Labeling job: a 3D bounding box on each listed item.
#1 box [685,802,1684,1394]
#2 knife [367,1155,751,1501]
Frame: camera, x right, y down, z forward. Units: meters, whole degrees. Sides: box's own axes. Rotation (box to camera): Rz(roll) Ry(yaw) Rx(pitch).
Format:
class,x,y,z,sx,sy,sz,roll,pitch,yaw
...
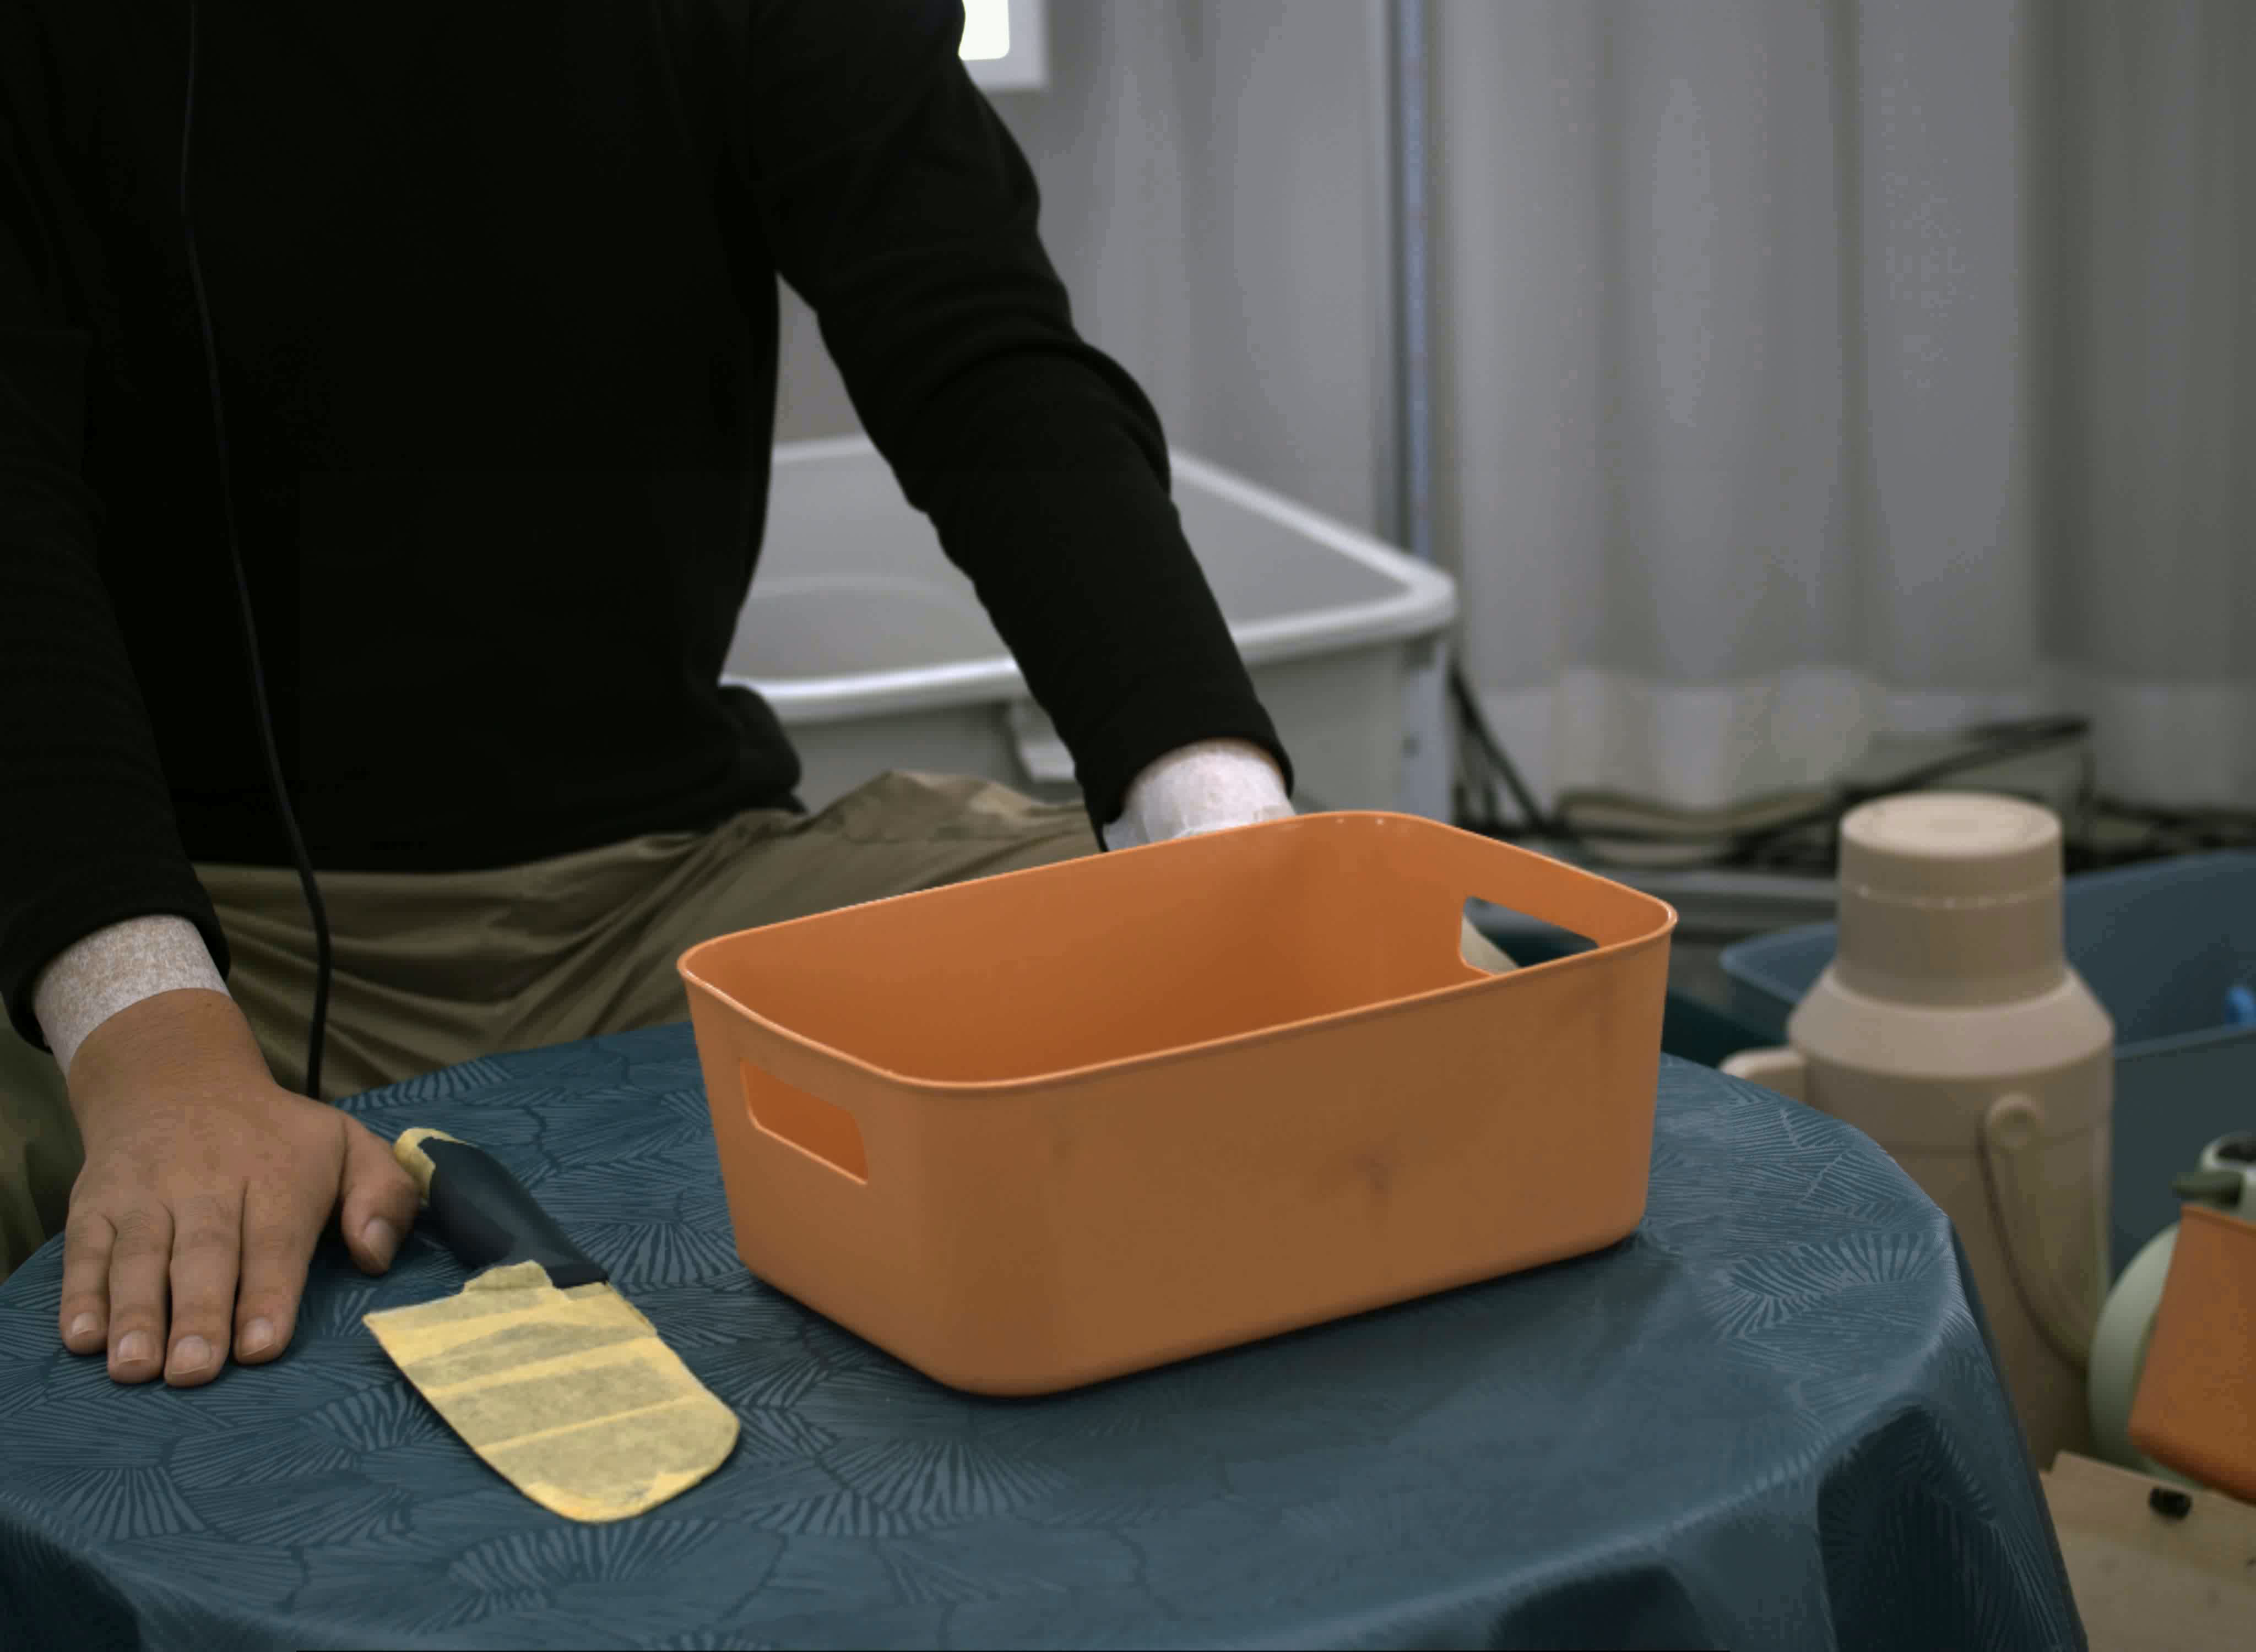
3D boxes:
class,x,y,z,sx,sy,sz,roll,pitch,yaw
box,0.017,0.079,1.644,0.272,0.102,0.201,-12,18,-29
knife,-0.179,0.147,1.602,0.080,0.027,0.292,-6,16,-20
